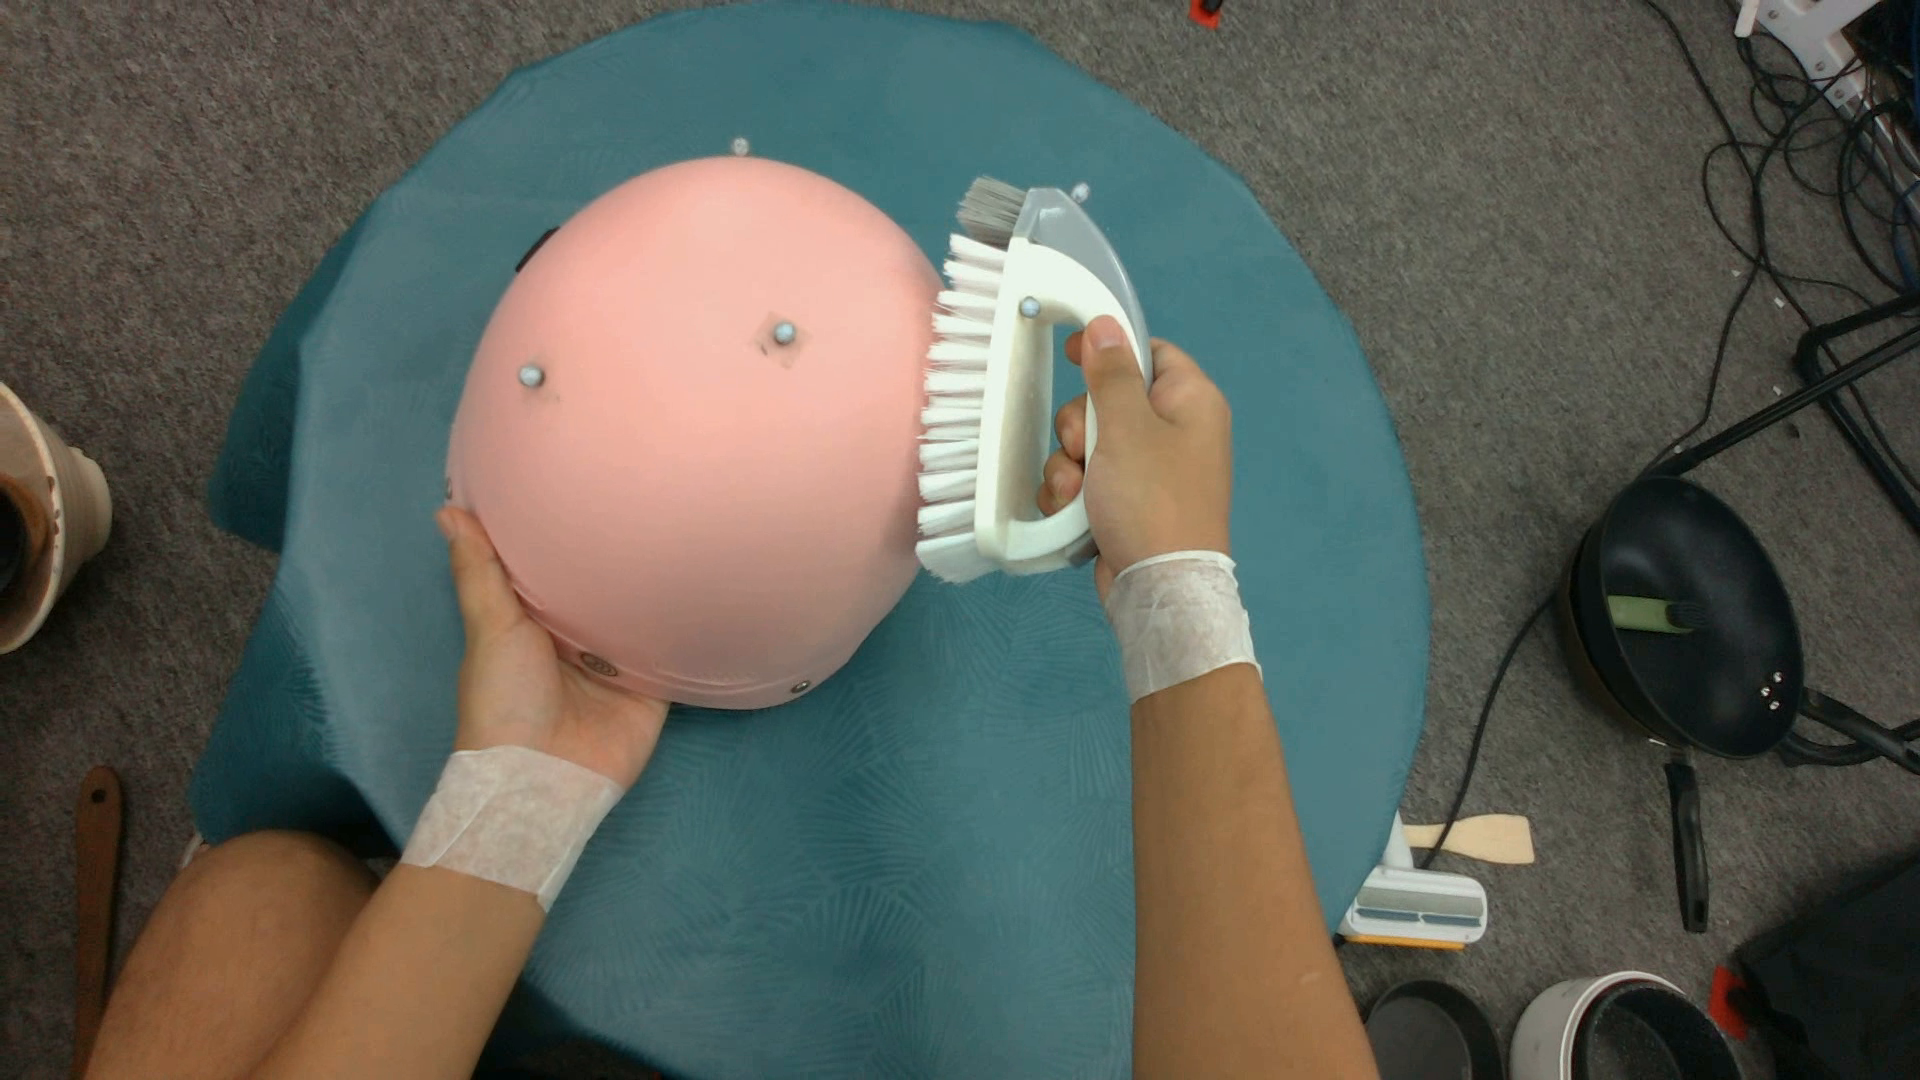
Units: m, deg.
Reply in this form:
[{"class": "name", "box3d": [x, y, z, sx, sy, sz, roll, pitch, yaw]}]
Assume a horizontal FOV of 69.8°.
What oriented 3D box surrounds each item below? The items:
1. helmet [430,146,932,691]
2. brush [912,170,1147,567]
[{"class": "helmet", "box3d": [-0.099, -0.076, 0.605, 0.234, 0.158, 0.267, 29, 59, -9]}, {"class": "brush", "box3d": [0.029, -0.078, 0.562, 0.094, 0.061, 0.176, -3, 73, 19]}]
